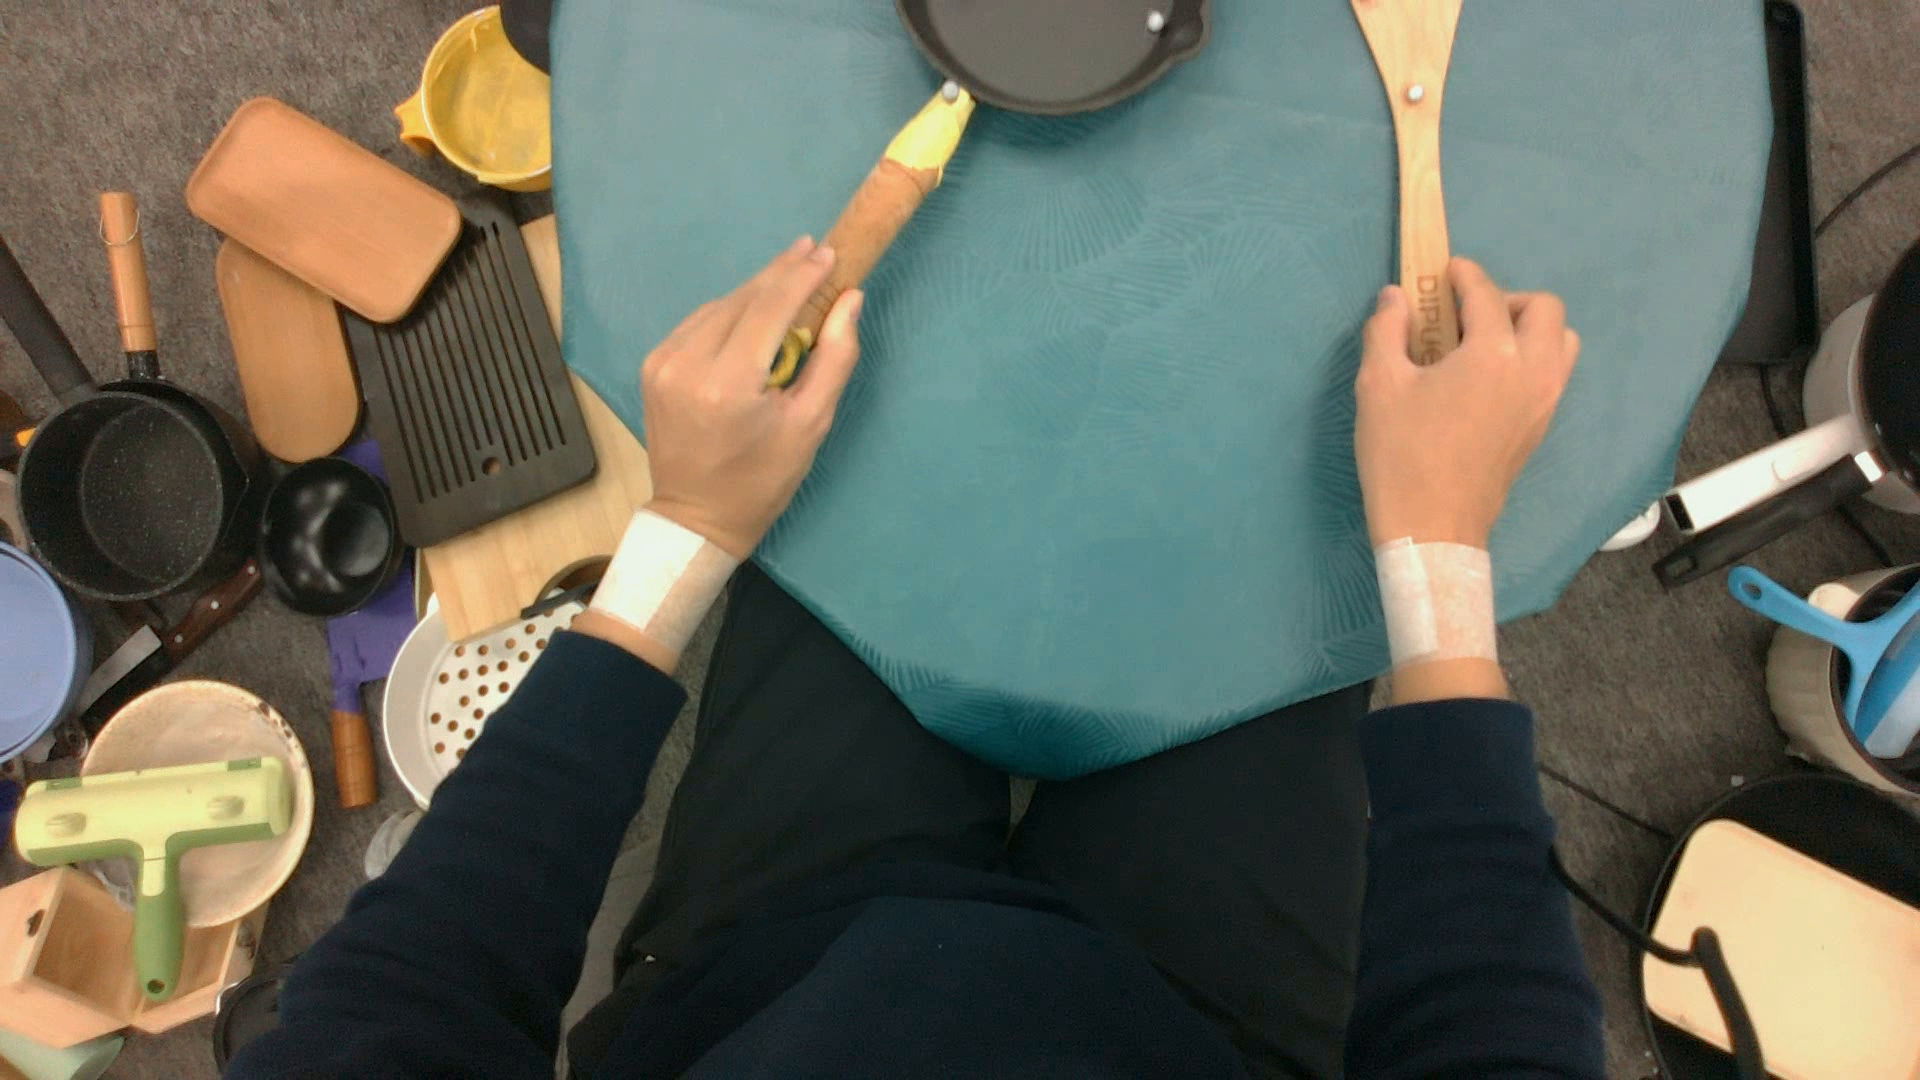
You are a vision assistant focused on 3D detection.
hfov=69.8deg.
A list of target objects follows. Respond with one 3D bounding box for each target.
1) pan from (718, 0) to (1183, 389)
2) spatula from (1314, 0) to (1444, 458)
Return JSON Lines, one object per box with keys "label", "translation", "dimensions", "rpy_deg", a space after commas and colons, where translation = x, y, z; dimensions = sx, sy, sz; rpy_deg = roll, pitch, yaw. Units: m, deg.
{"label": "pan", "translation": [-0.017, -0.207, 0.656], "dimensions": [0.169, 0.049, 0.324], "rpy_deg": [34, 85, 2]}
{"label": "spatula", "translation": [0.207, -0.202, 0.671], "dimensions": [0.080, 0.016, 0.328], "rpy_deg": [-4, 84, 2]}
